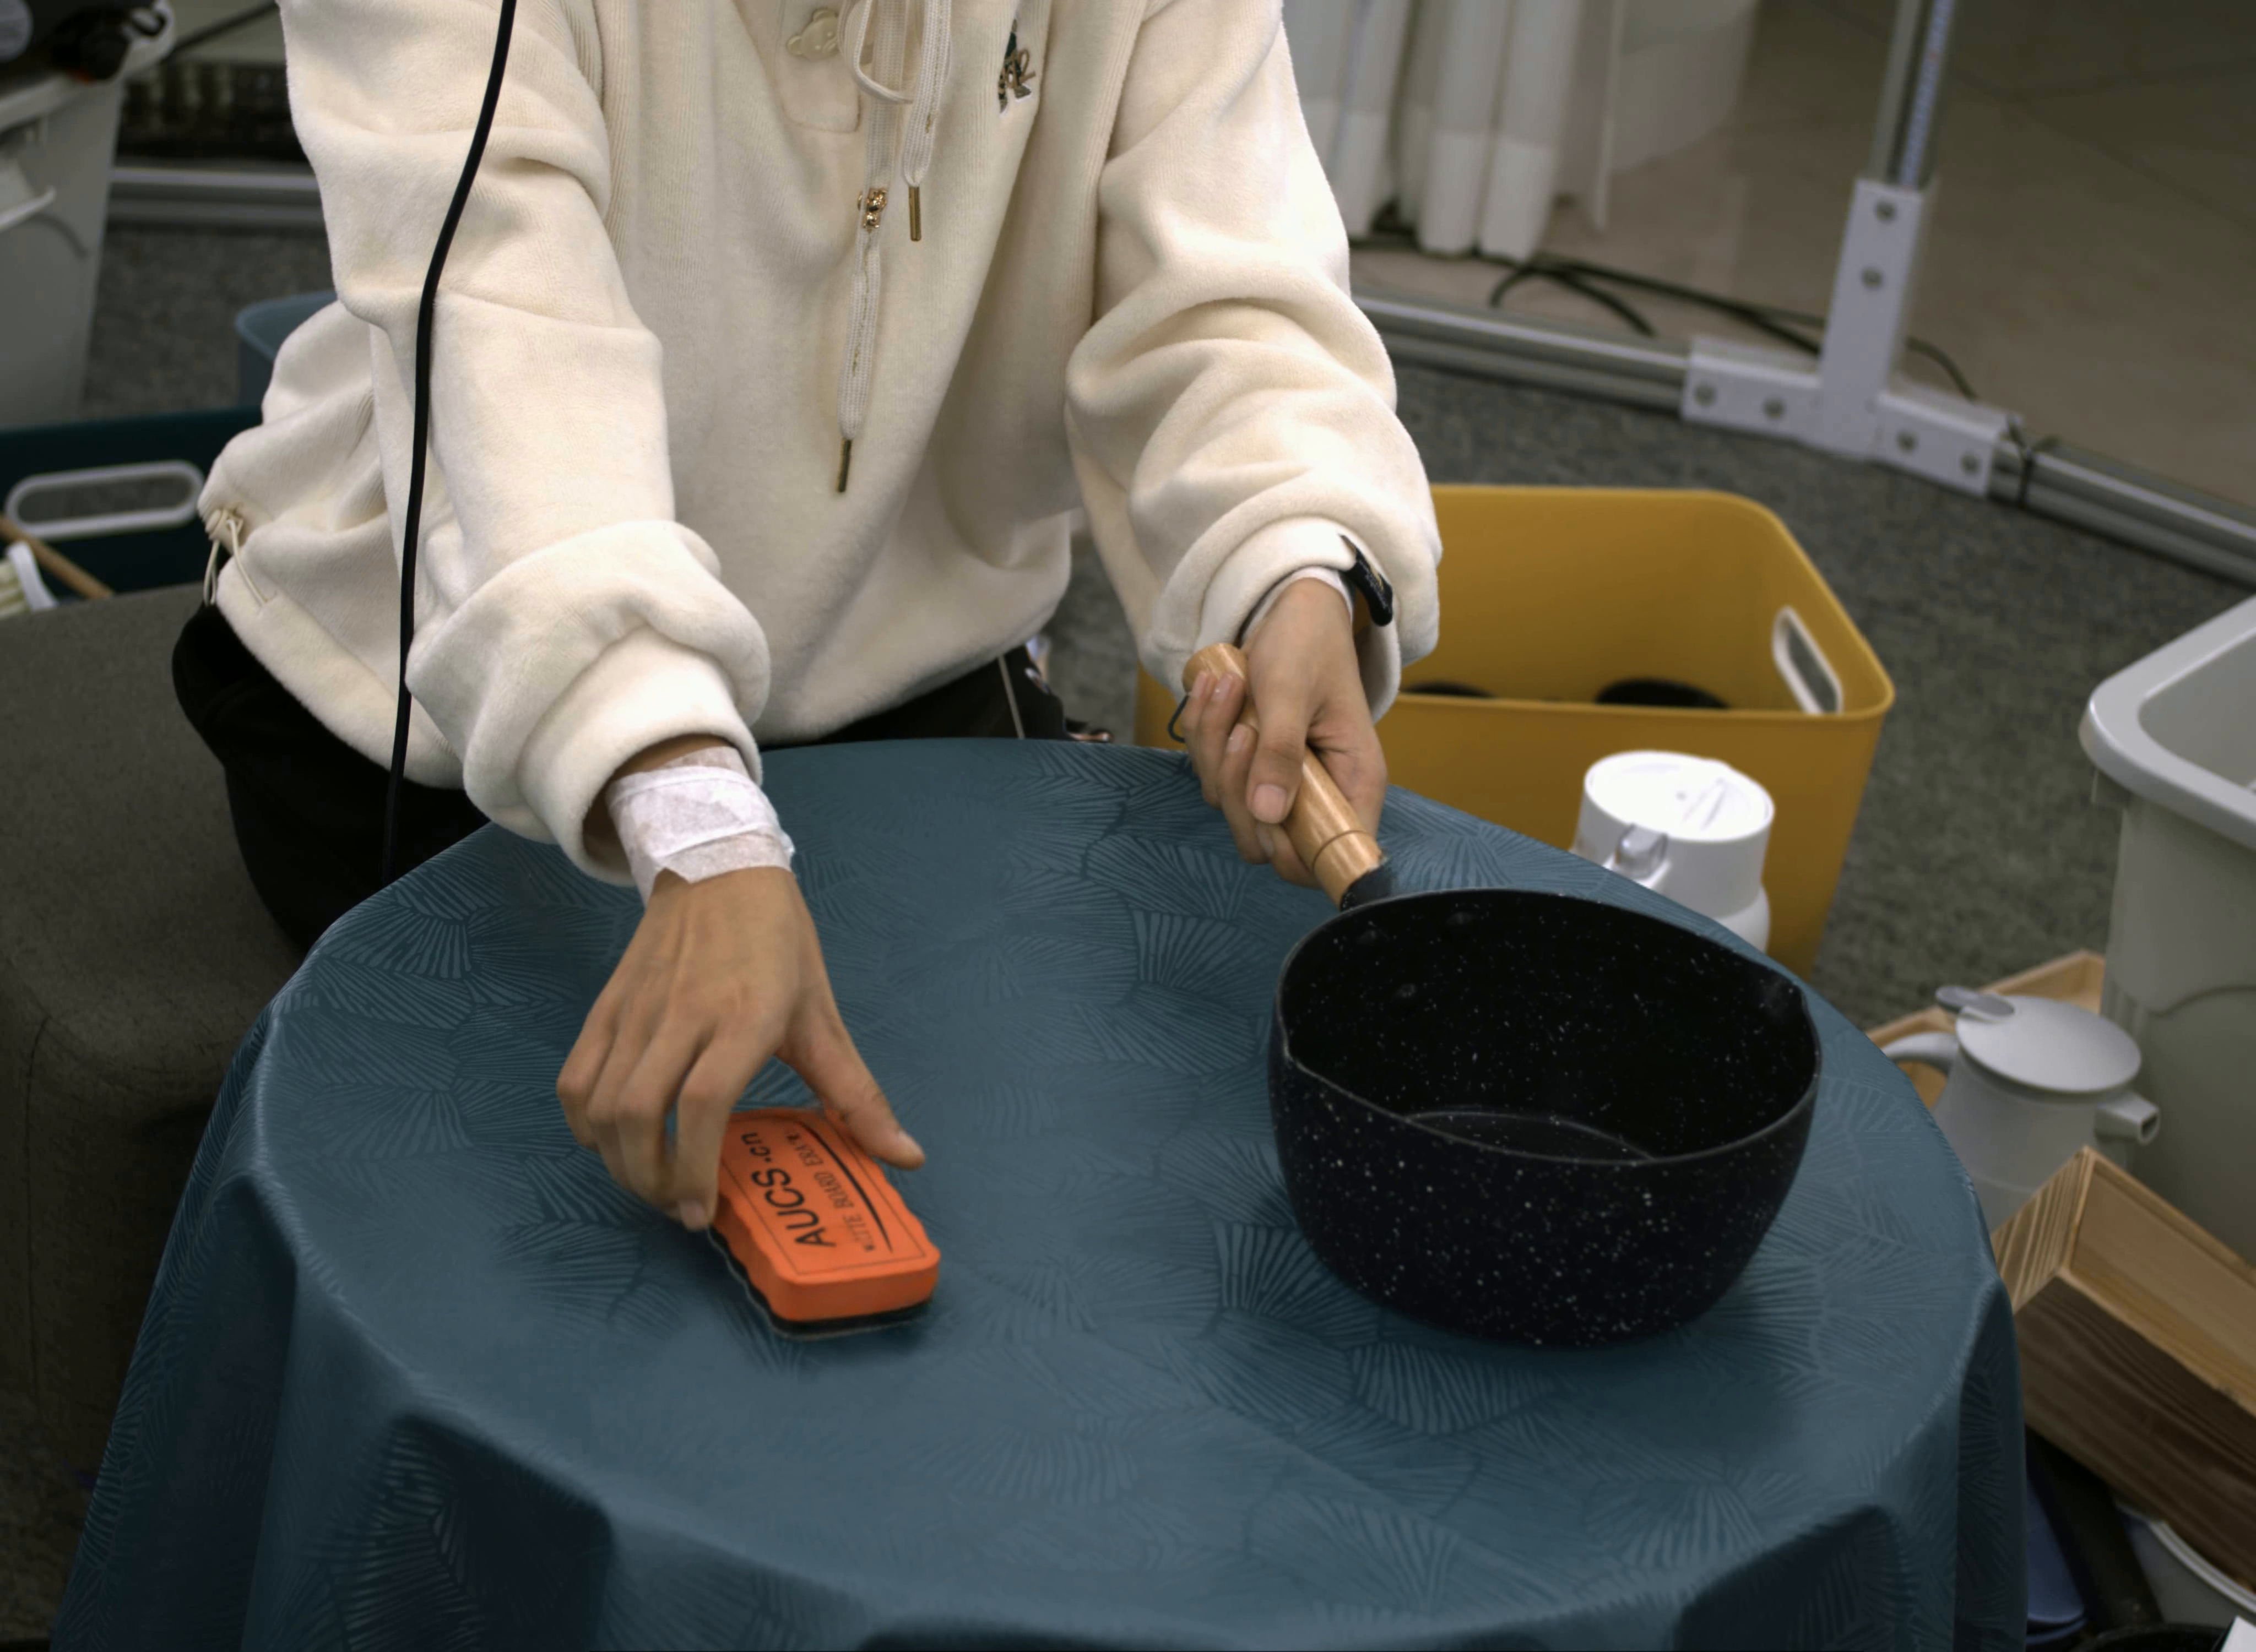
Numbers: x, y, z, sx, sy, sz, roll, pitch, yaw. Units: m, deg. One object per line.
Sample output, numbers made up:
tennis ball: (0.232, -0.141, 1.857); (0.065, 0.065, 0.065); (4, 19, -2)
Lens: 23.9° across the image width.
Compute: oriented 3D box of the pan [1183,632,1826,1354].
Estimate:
pan: (0.099, 0.054, 1.841); (0.206, 0.108, 0.346); (-10, 33, -27)

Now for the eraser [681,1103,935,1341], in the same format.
eraser: (-0.106, 0.129, 1.743); (0.058, 0.023, 0.109); (-7, 29, -21)
